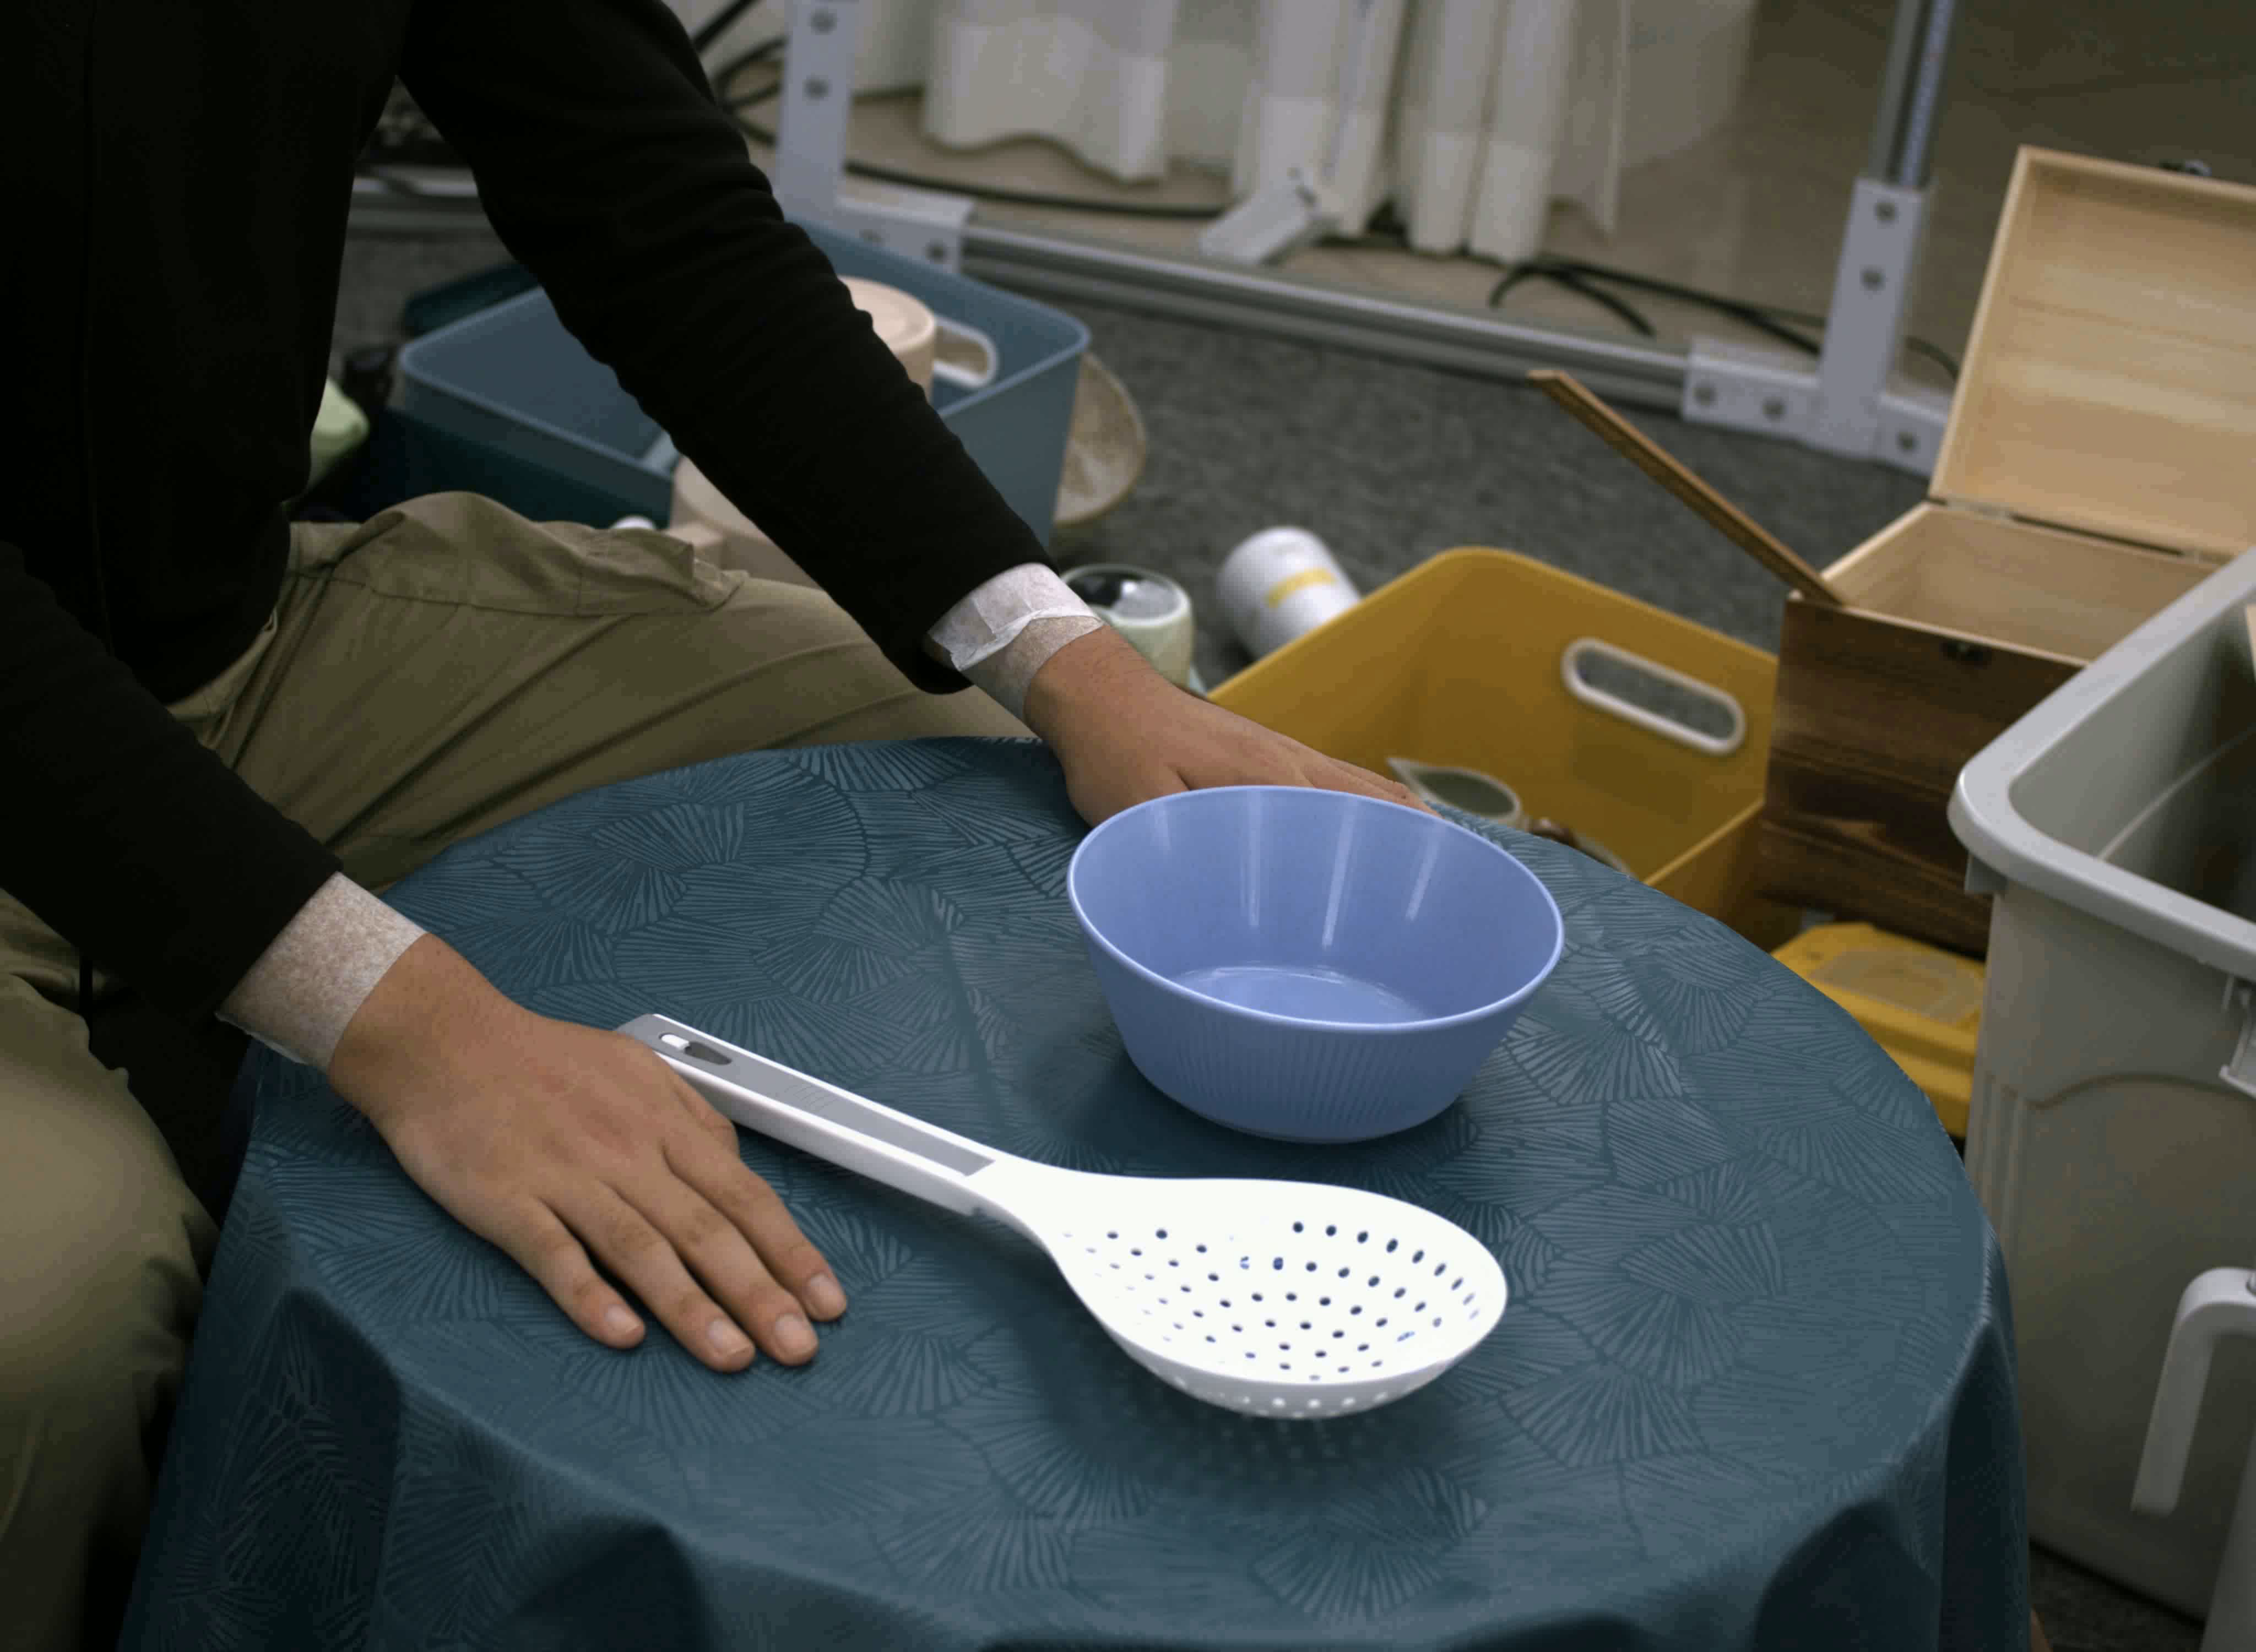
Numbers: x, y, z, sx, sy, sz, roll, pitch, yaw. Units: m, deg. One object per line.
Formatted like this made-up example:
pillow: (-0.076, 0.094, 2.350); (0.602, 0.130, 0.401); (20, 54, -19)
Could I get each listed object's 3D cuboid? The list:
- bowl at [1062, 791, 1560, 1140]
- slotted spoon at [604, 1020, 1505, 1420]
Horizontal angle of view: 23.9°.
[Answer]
bowl: (0.061, 0.054, 1.875); (0.175, 0.070, 0.177); (4, 26, -2)
slotted spoon: (-0.035, 0.122, 1.747); (0.352, 0.045, 0.135); (23, 31, 31)
